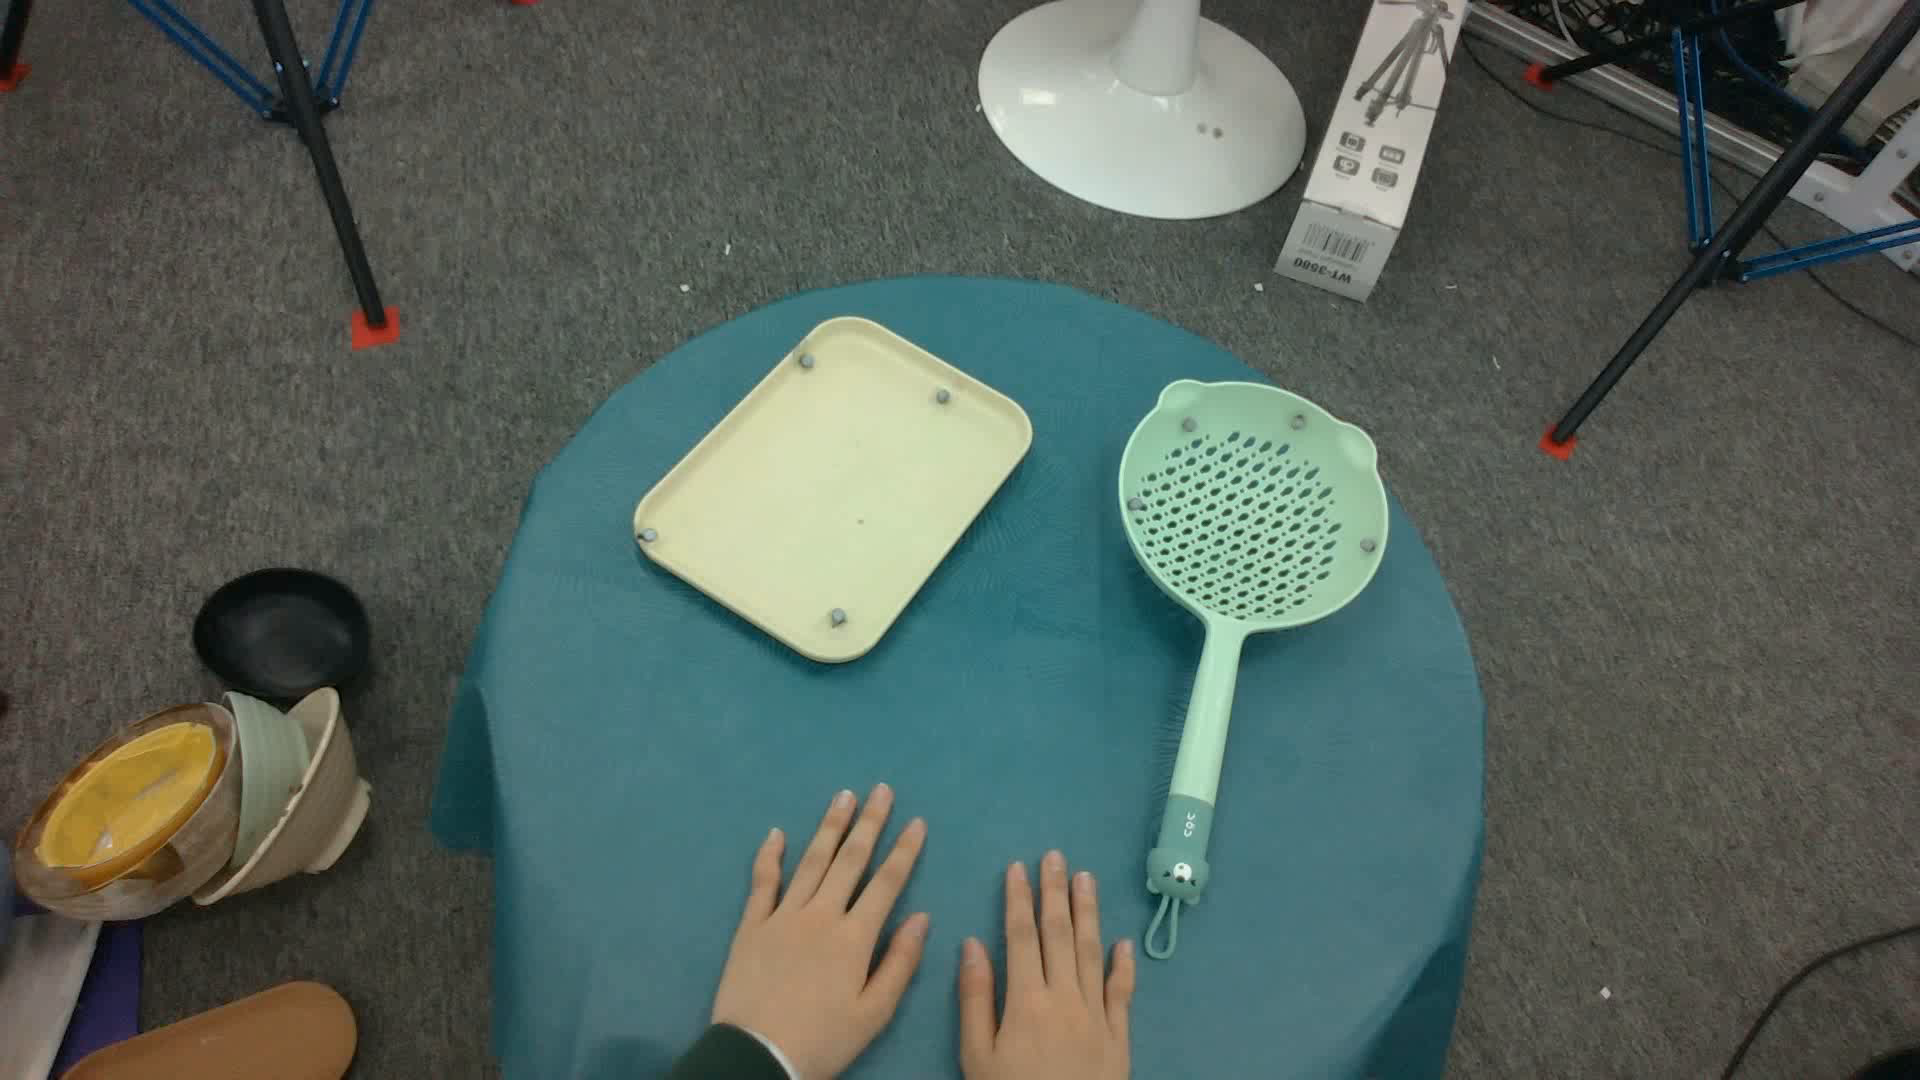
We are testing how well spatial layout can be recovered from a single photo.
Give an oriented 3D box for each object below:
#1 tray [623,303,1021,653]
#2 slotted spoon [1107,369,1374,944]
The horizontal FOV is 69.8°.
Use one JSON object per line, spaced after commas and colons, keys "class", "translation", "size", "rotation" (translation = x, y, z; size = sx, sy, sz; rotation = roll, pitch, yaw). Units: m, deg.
{"class": "tray", "translation": [-0.081, -0.045, 0.868], "size": [0.171, 0.017, 0.241], "rotation": [30, 57, 11]}
{"class": "slotted spoon", "translation": [0.146, 0.057, 0.813], "size": [0.169, 0.075, 0.360], "rotation": [16, 55, 2]}
